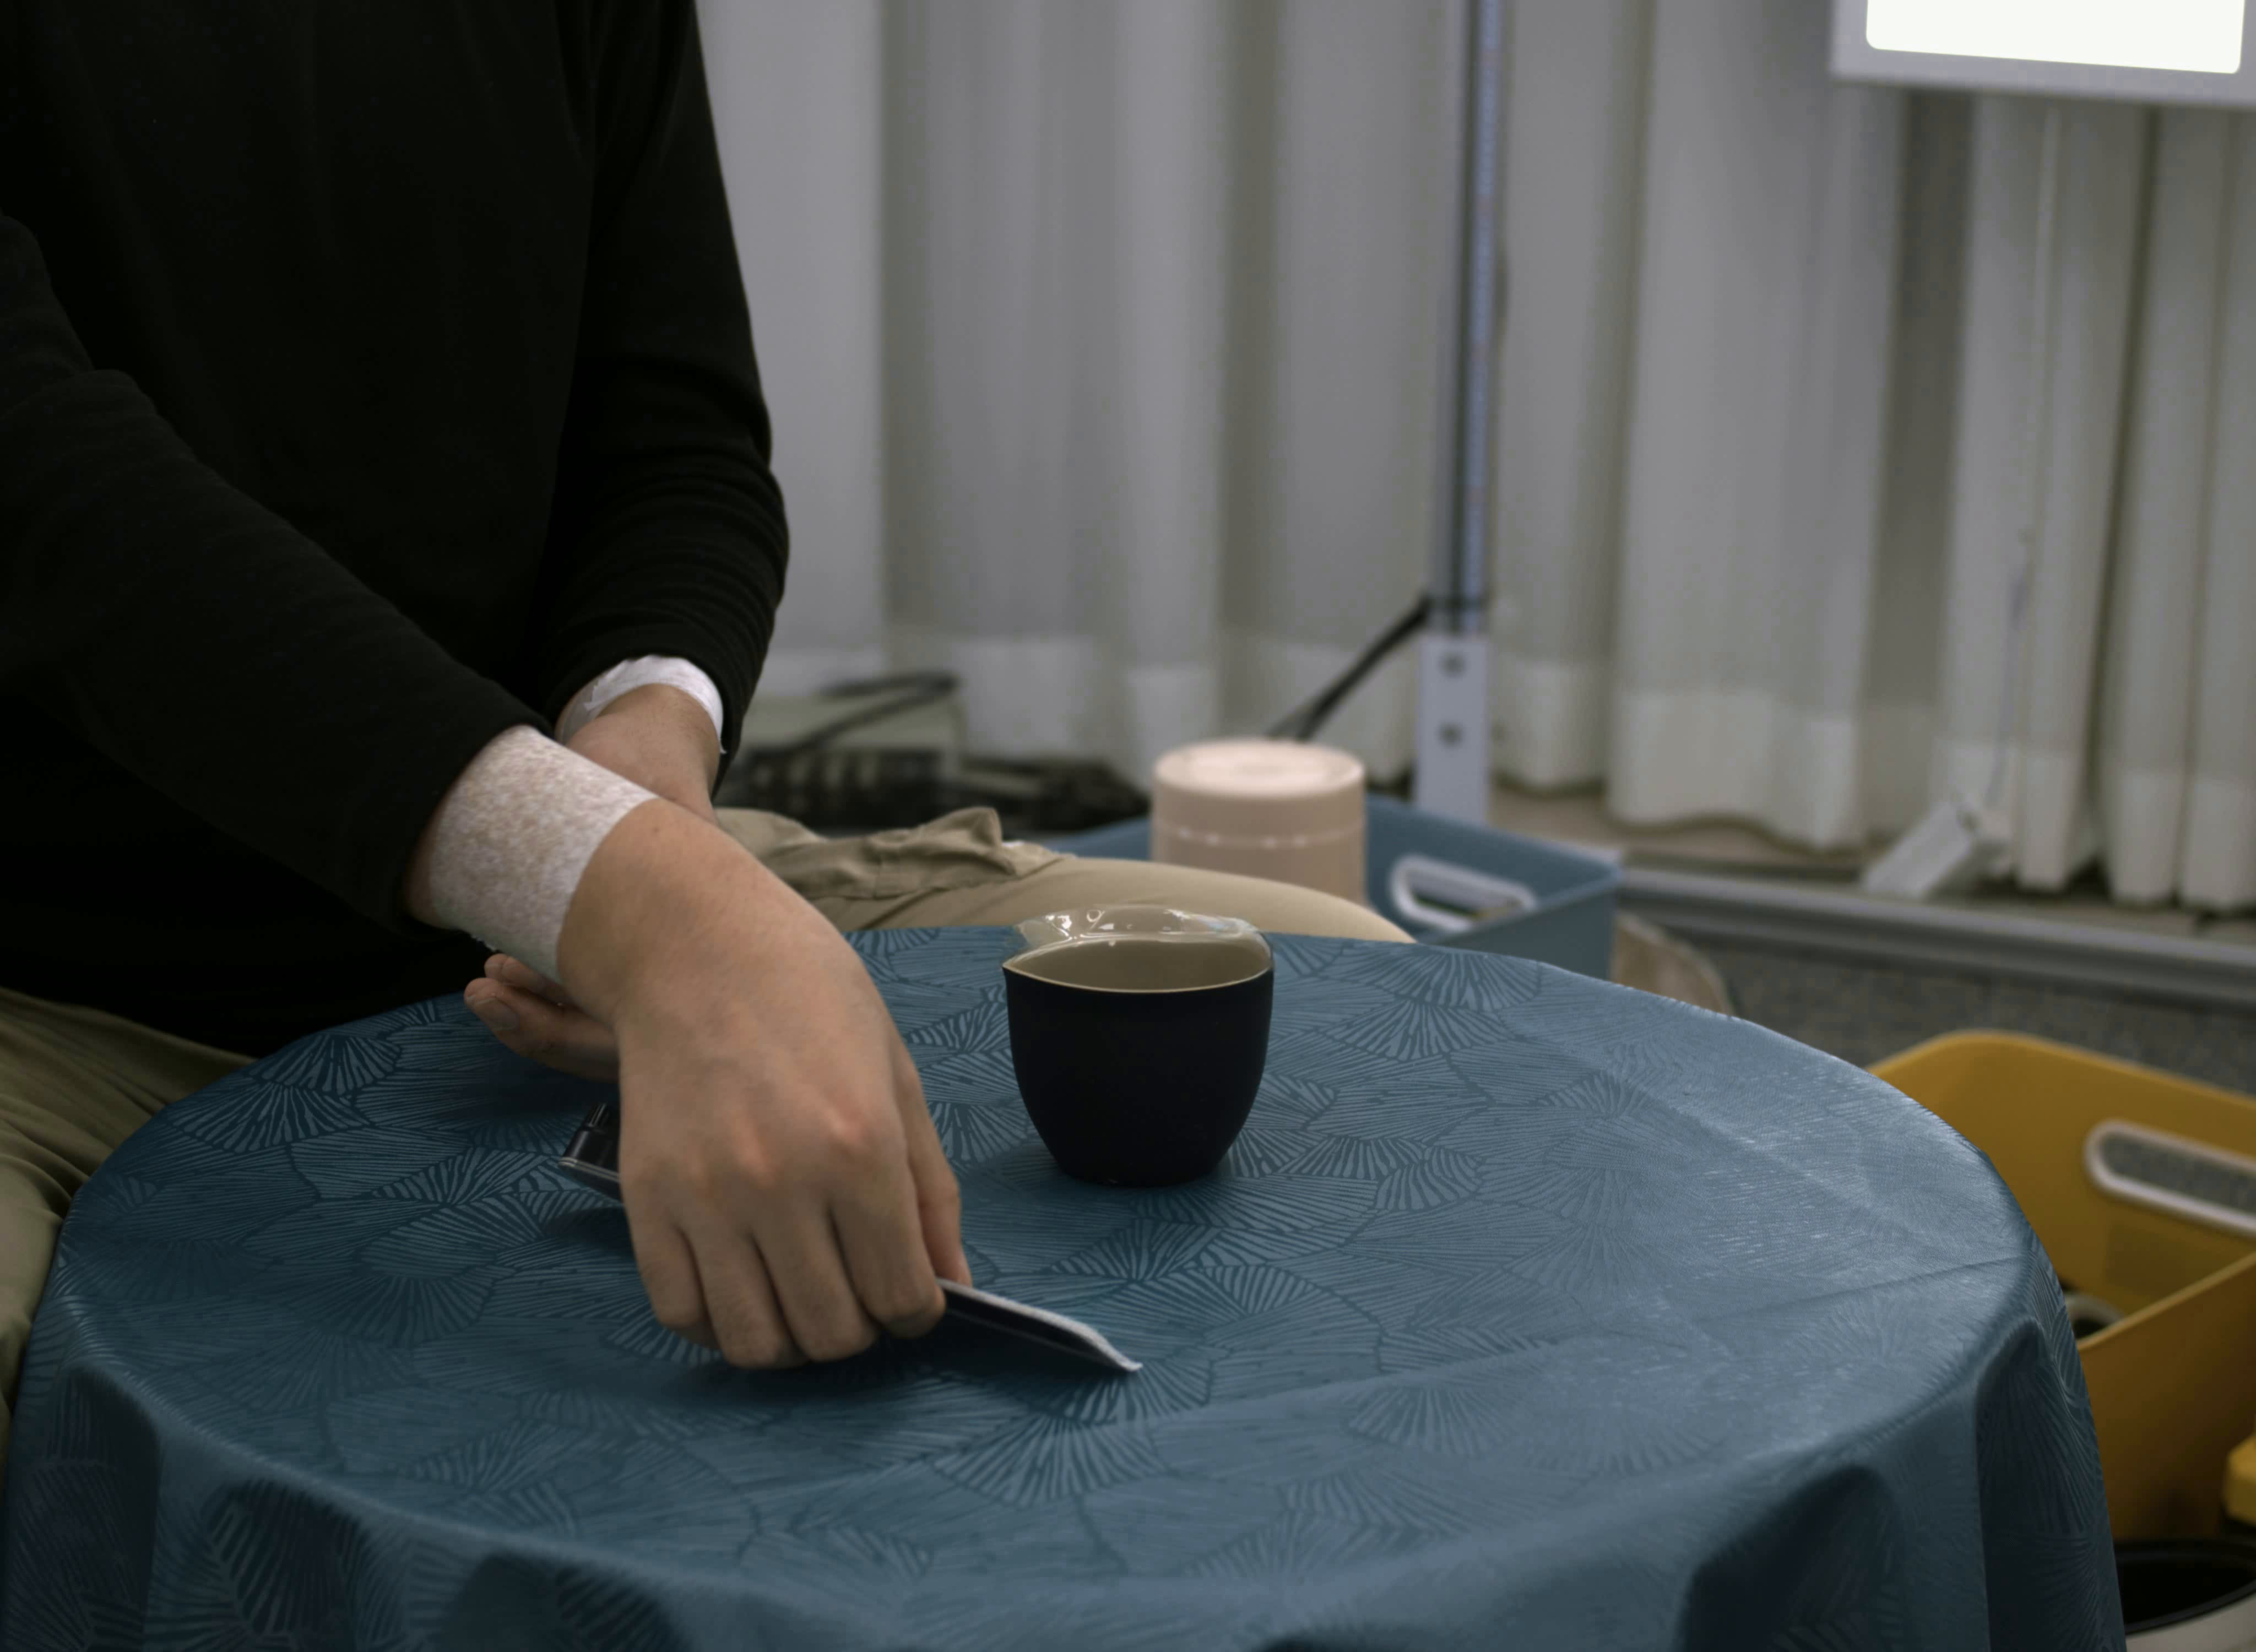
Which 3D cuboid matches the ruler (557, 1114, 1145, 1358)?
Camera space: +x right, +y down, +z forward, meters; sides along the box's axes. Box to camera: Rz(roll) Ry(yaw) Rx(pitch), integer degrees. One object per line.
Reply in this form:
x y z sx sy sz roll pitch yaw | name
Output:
-0.083 0.117 1.528 0.215 0.024 0.039 12 -10 40 | ruler

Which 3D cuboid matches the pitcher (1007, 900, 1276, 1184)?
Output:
0.002 0.069 1.641 0.084 0.072 0.095 -9 19 -28 | pitcher
